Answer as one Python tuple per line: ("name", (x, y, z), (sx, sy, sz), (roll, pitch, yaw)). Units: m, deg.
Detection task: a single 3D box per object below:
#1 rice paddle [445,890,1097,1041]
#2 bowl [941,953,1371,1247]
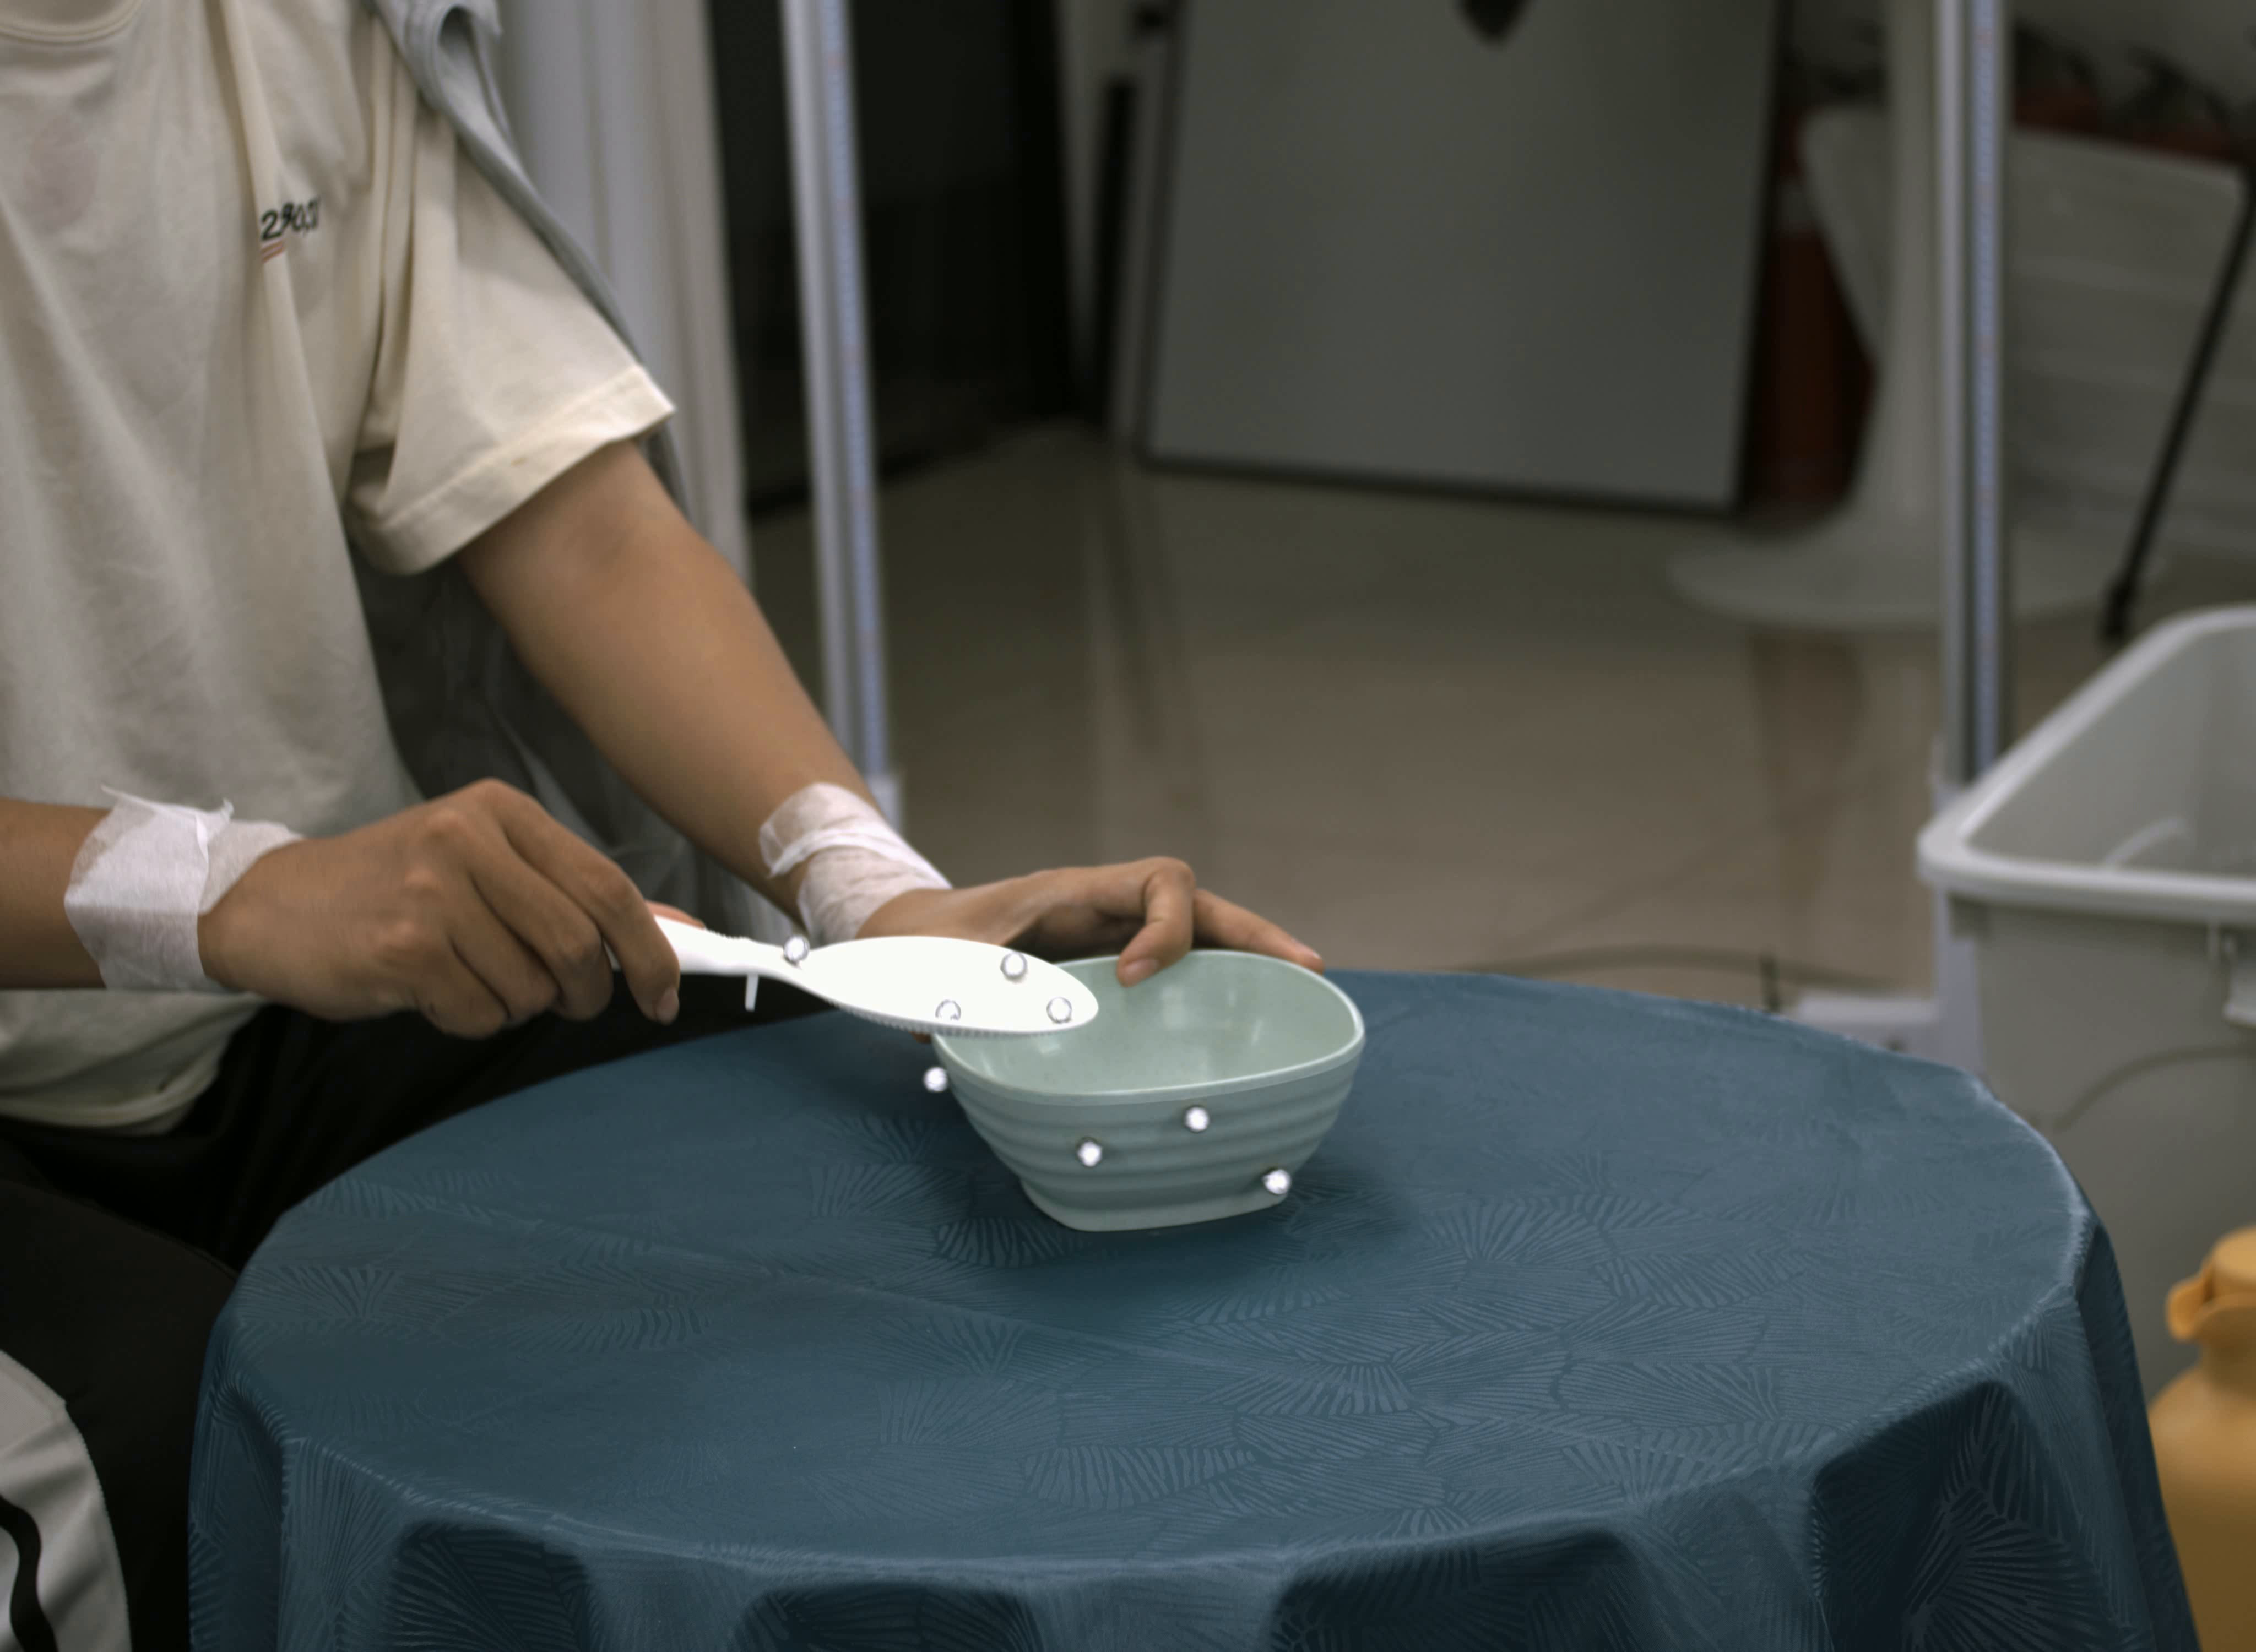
("rice paddle", (-0.109, 0.043, 1.676), (0.202, 0.030, 0.069), (5, 22, -5))
("bowl", (0.010, 0.093, 1.768), (0.149, 0.059, 0.152), (-5, 17, 0))
